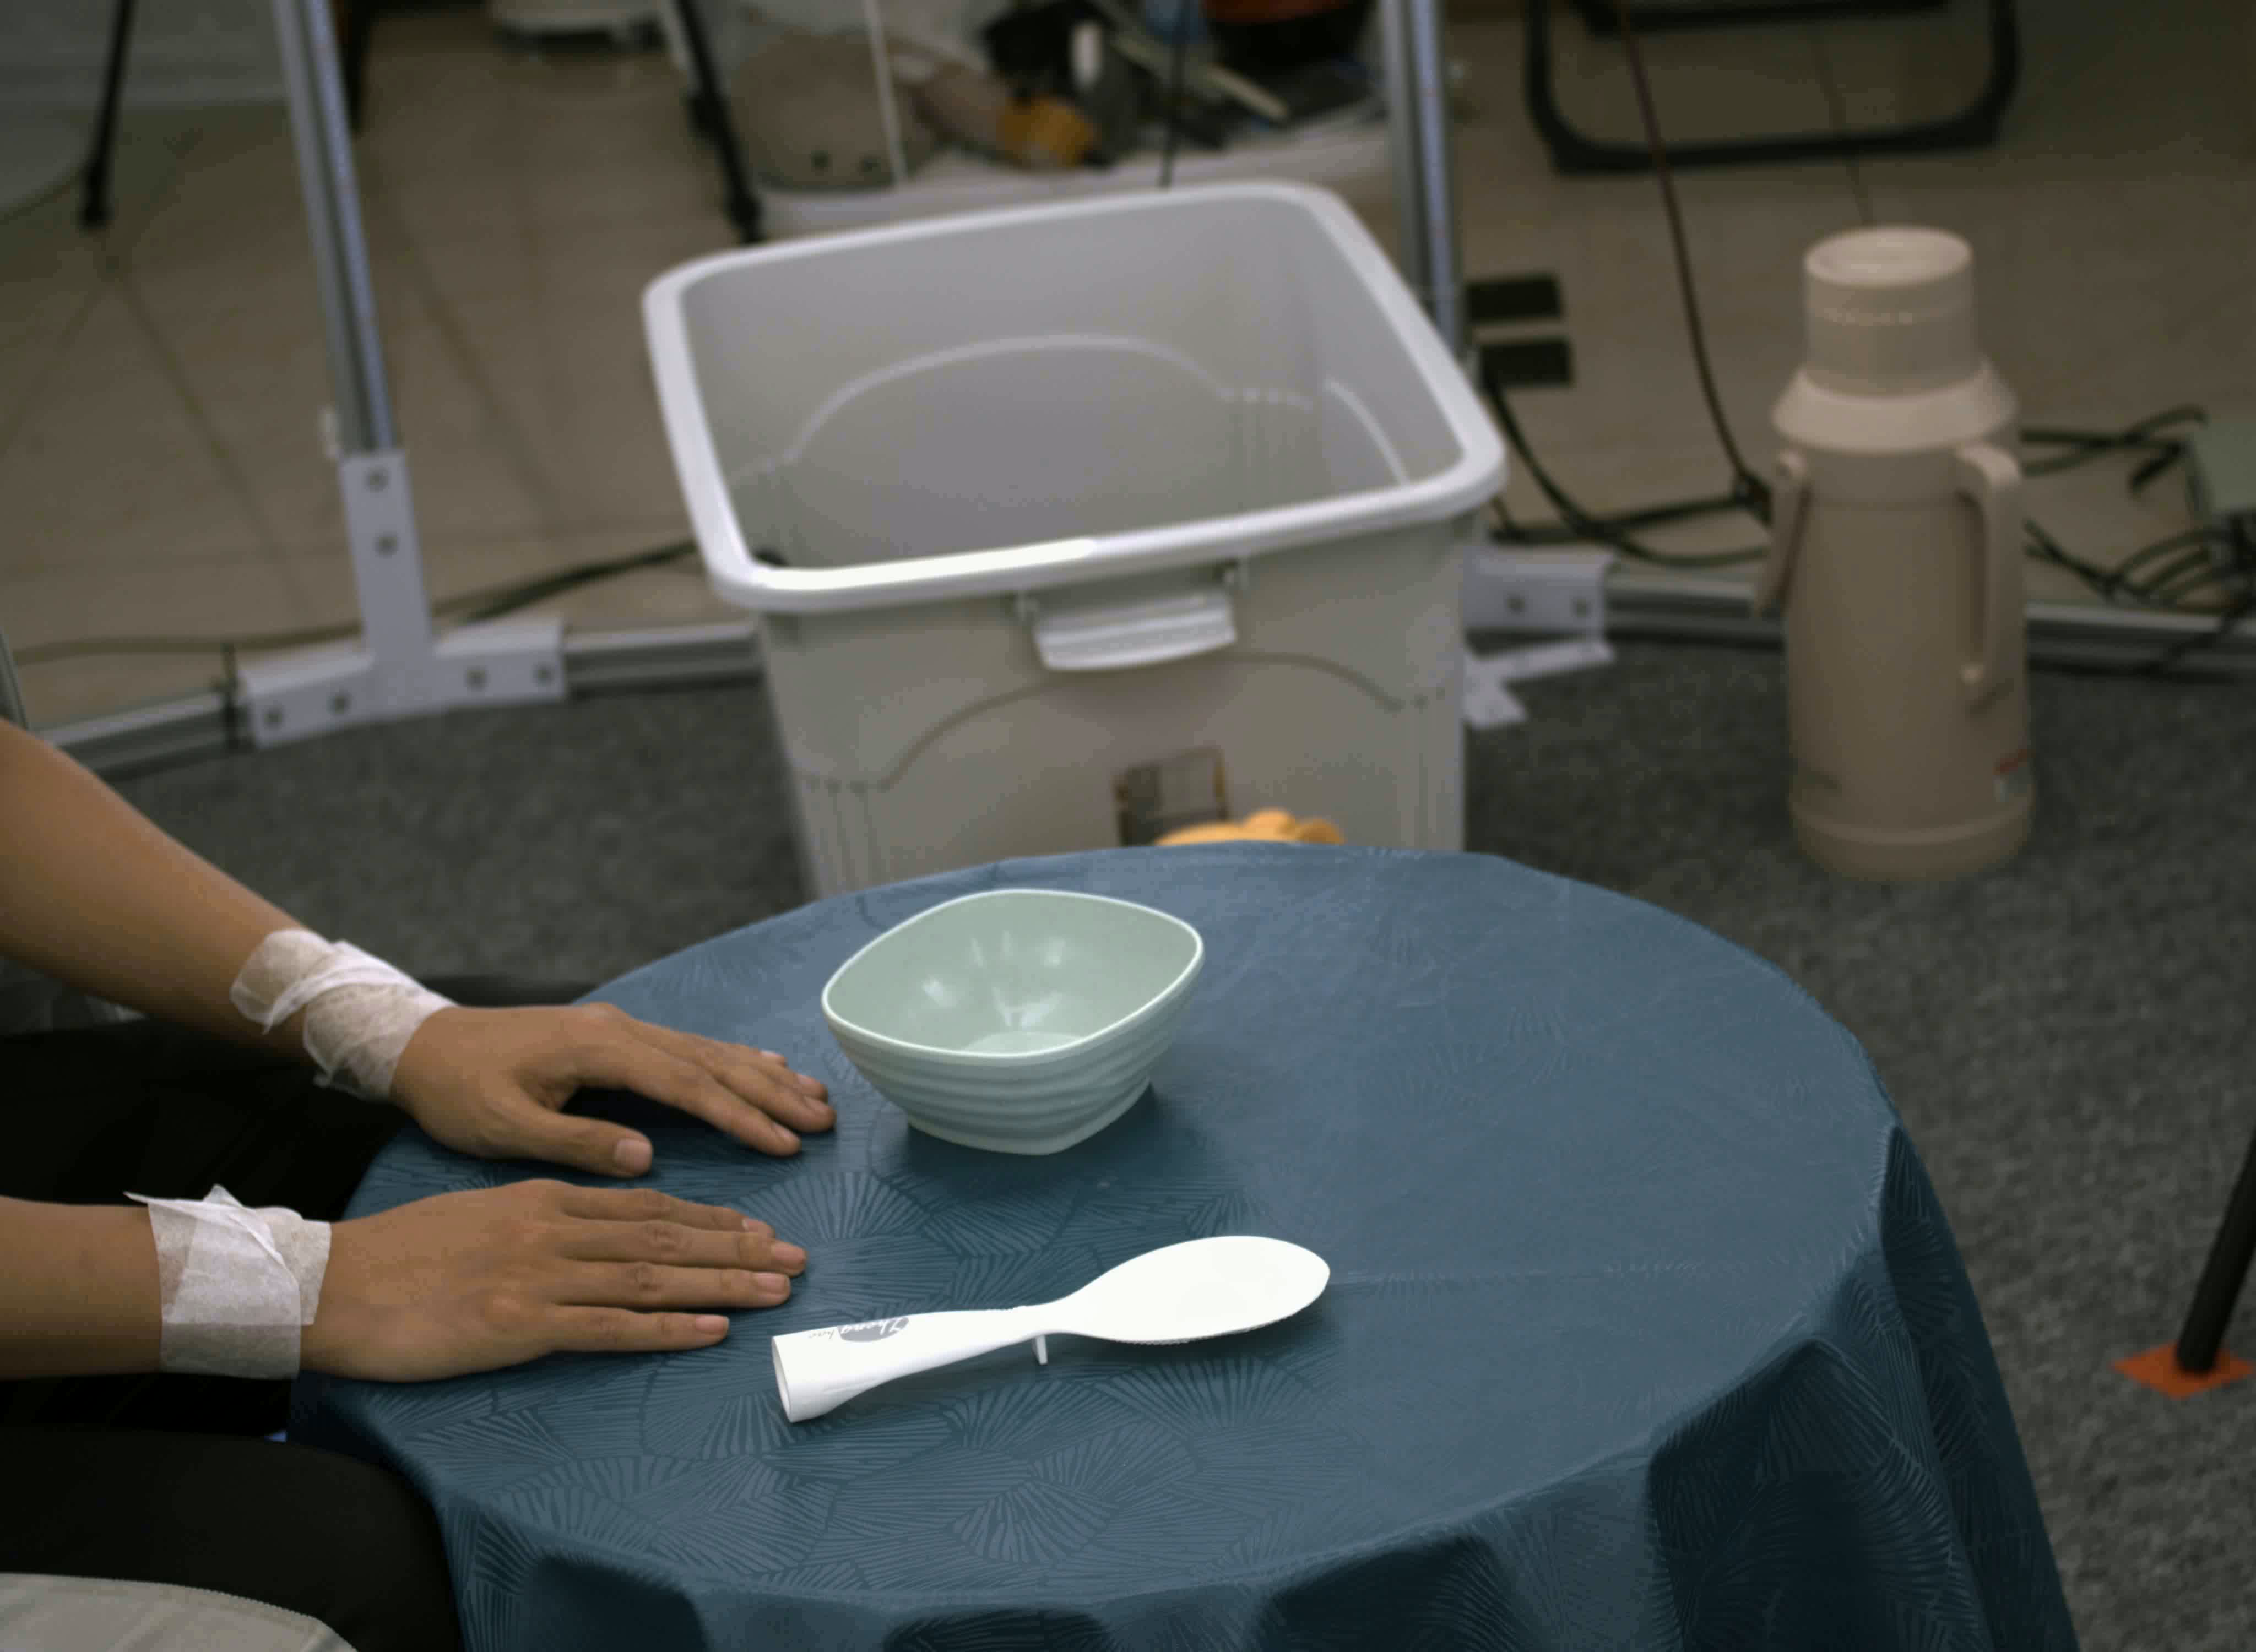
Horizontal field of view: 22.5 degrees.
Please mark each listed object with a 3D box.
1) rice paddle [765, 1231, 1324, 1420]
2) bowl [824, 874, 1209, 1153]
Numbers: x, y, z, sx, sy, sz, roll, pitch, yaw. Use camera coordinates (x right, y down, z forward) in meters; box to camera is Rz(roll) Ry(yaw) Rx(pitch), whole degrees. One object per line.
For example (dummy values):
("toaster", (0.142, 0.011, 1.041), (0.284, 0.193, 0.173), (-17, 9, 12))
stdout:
("rice paddle", (-0.028, 0.176, 2.042), (0.205, 0.030, 0.068), (-11, 27, -11))
("bowl", (-0.041, 0.079, 2.217), (0.151, 0.059, 0.149), (-4, 29, 2))
